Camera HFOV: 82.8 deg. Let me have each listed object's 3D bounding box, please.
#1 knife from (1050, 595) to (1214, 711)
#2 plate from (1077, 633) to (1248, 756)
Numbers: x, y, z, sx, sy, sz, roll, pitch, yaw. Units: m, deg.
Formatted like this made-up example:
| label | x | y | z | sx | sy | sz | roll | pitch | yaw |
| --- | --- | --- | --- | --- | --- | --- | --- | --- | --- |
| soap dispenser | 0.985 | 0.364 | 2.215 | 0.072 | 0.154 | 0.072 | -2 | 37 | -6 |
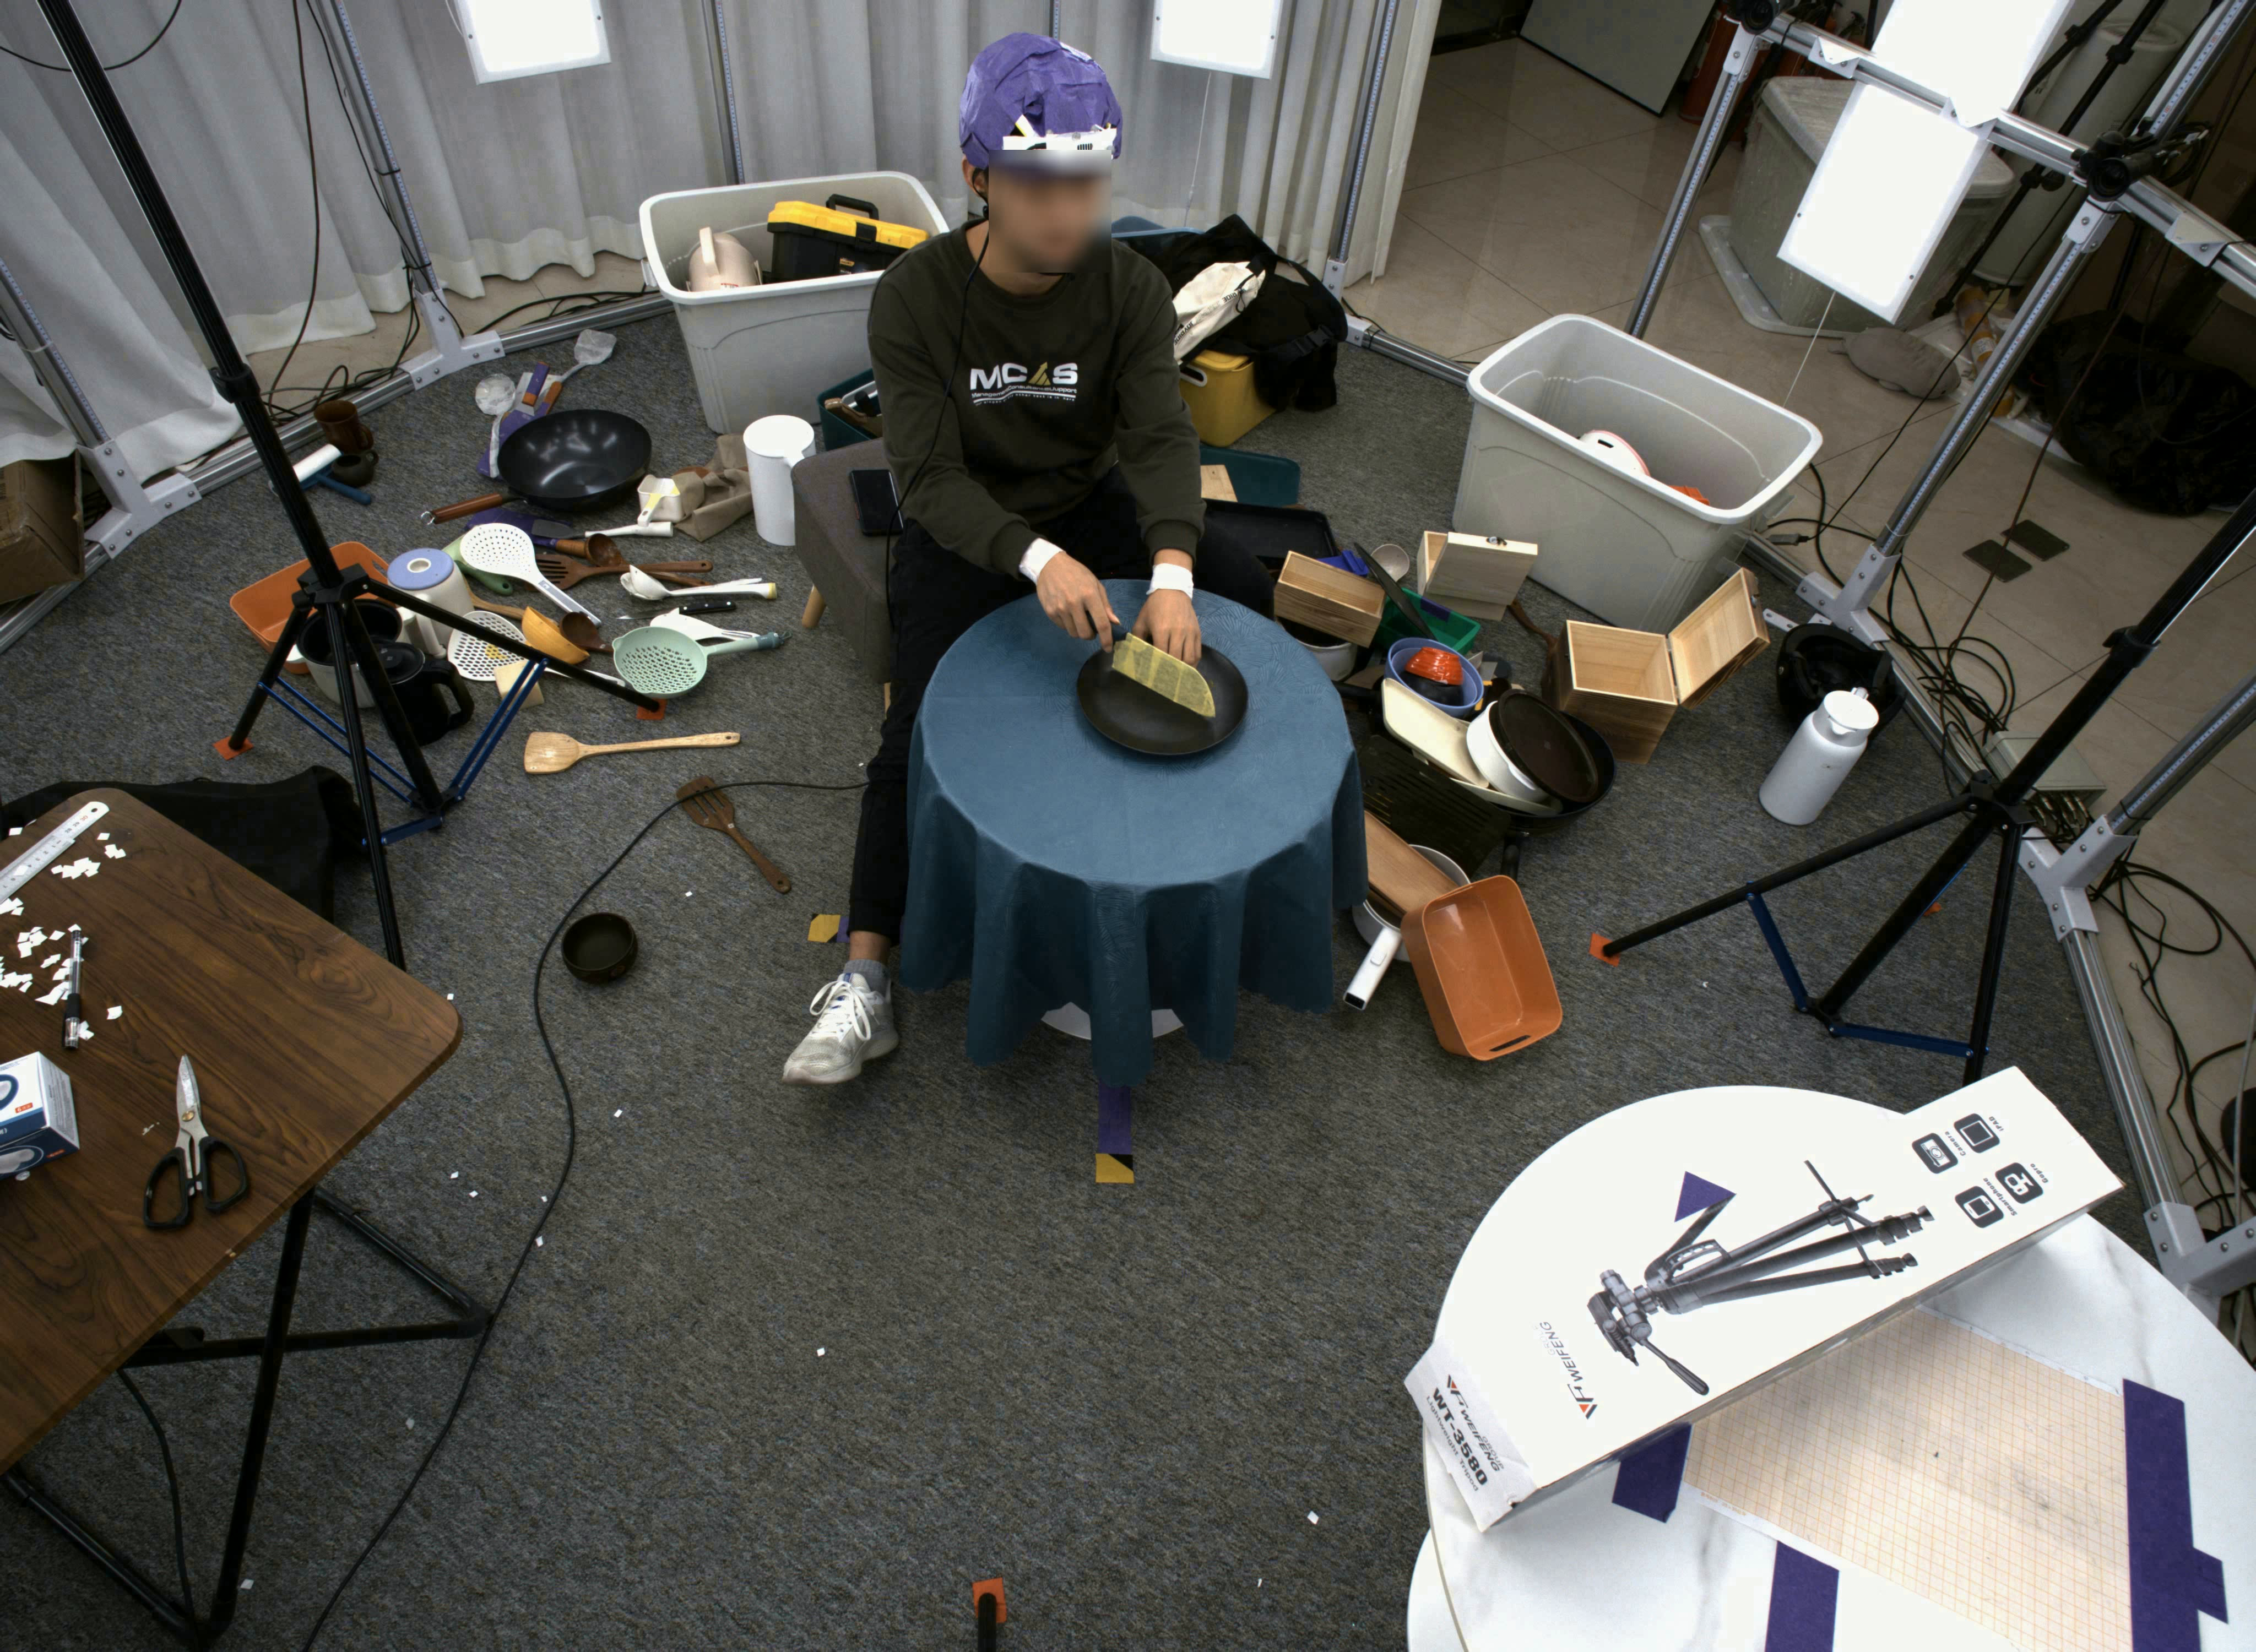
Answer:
| label | x | y | z | sx | sy | sz | roll | pitch | yaw |
| --- | --- | --- | --- | --- | --- | --- | --- | --- | --- |
| knife | 0.004 | -0.244 | 1.817 | 0.292 | 0.079 | 0.027 | 34 | 47 | 18 |
| plate | 0.048 | -0.184 | 1.815 | 0.244 | 0.023 | 0.250 | 2 | 49 | -3 |
